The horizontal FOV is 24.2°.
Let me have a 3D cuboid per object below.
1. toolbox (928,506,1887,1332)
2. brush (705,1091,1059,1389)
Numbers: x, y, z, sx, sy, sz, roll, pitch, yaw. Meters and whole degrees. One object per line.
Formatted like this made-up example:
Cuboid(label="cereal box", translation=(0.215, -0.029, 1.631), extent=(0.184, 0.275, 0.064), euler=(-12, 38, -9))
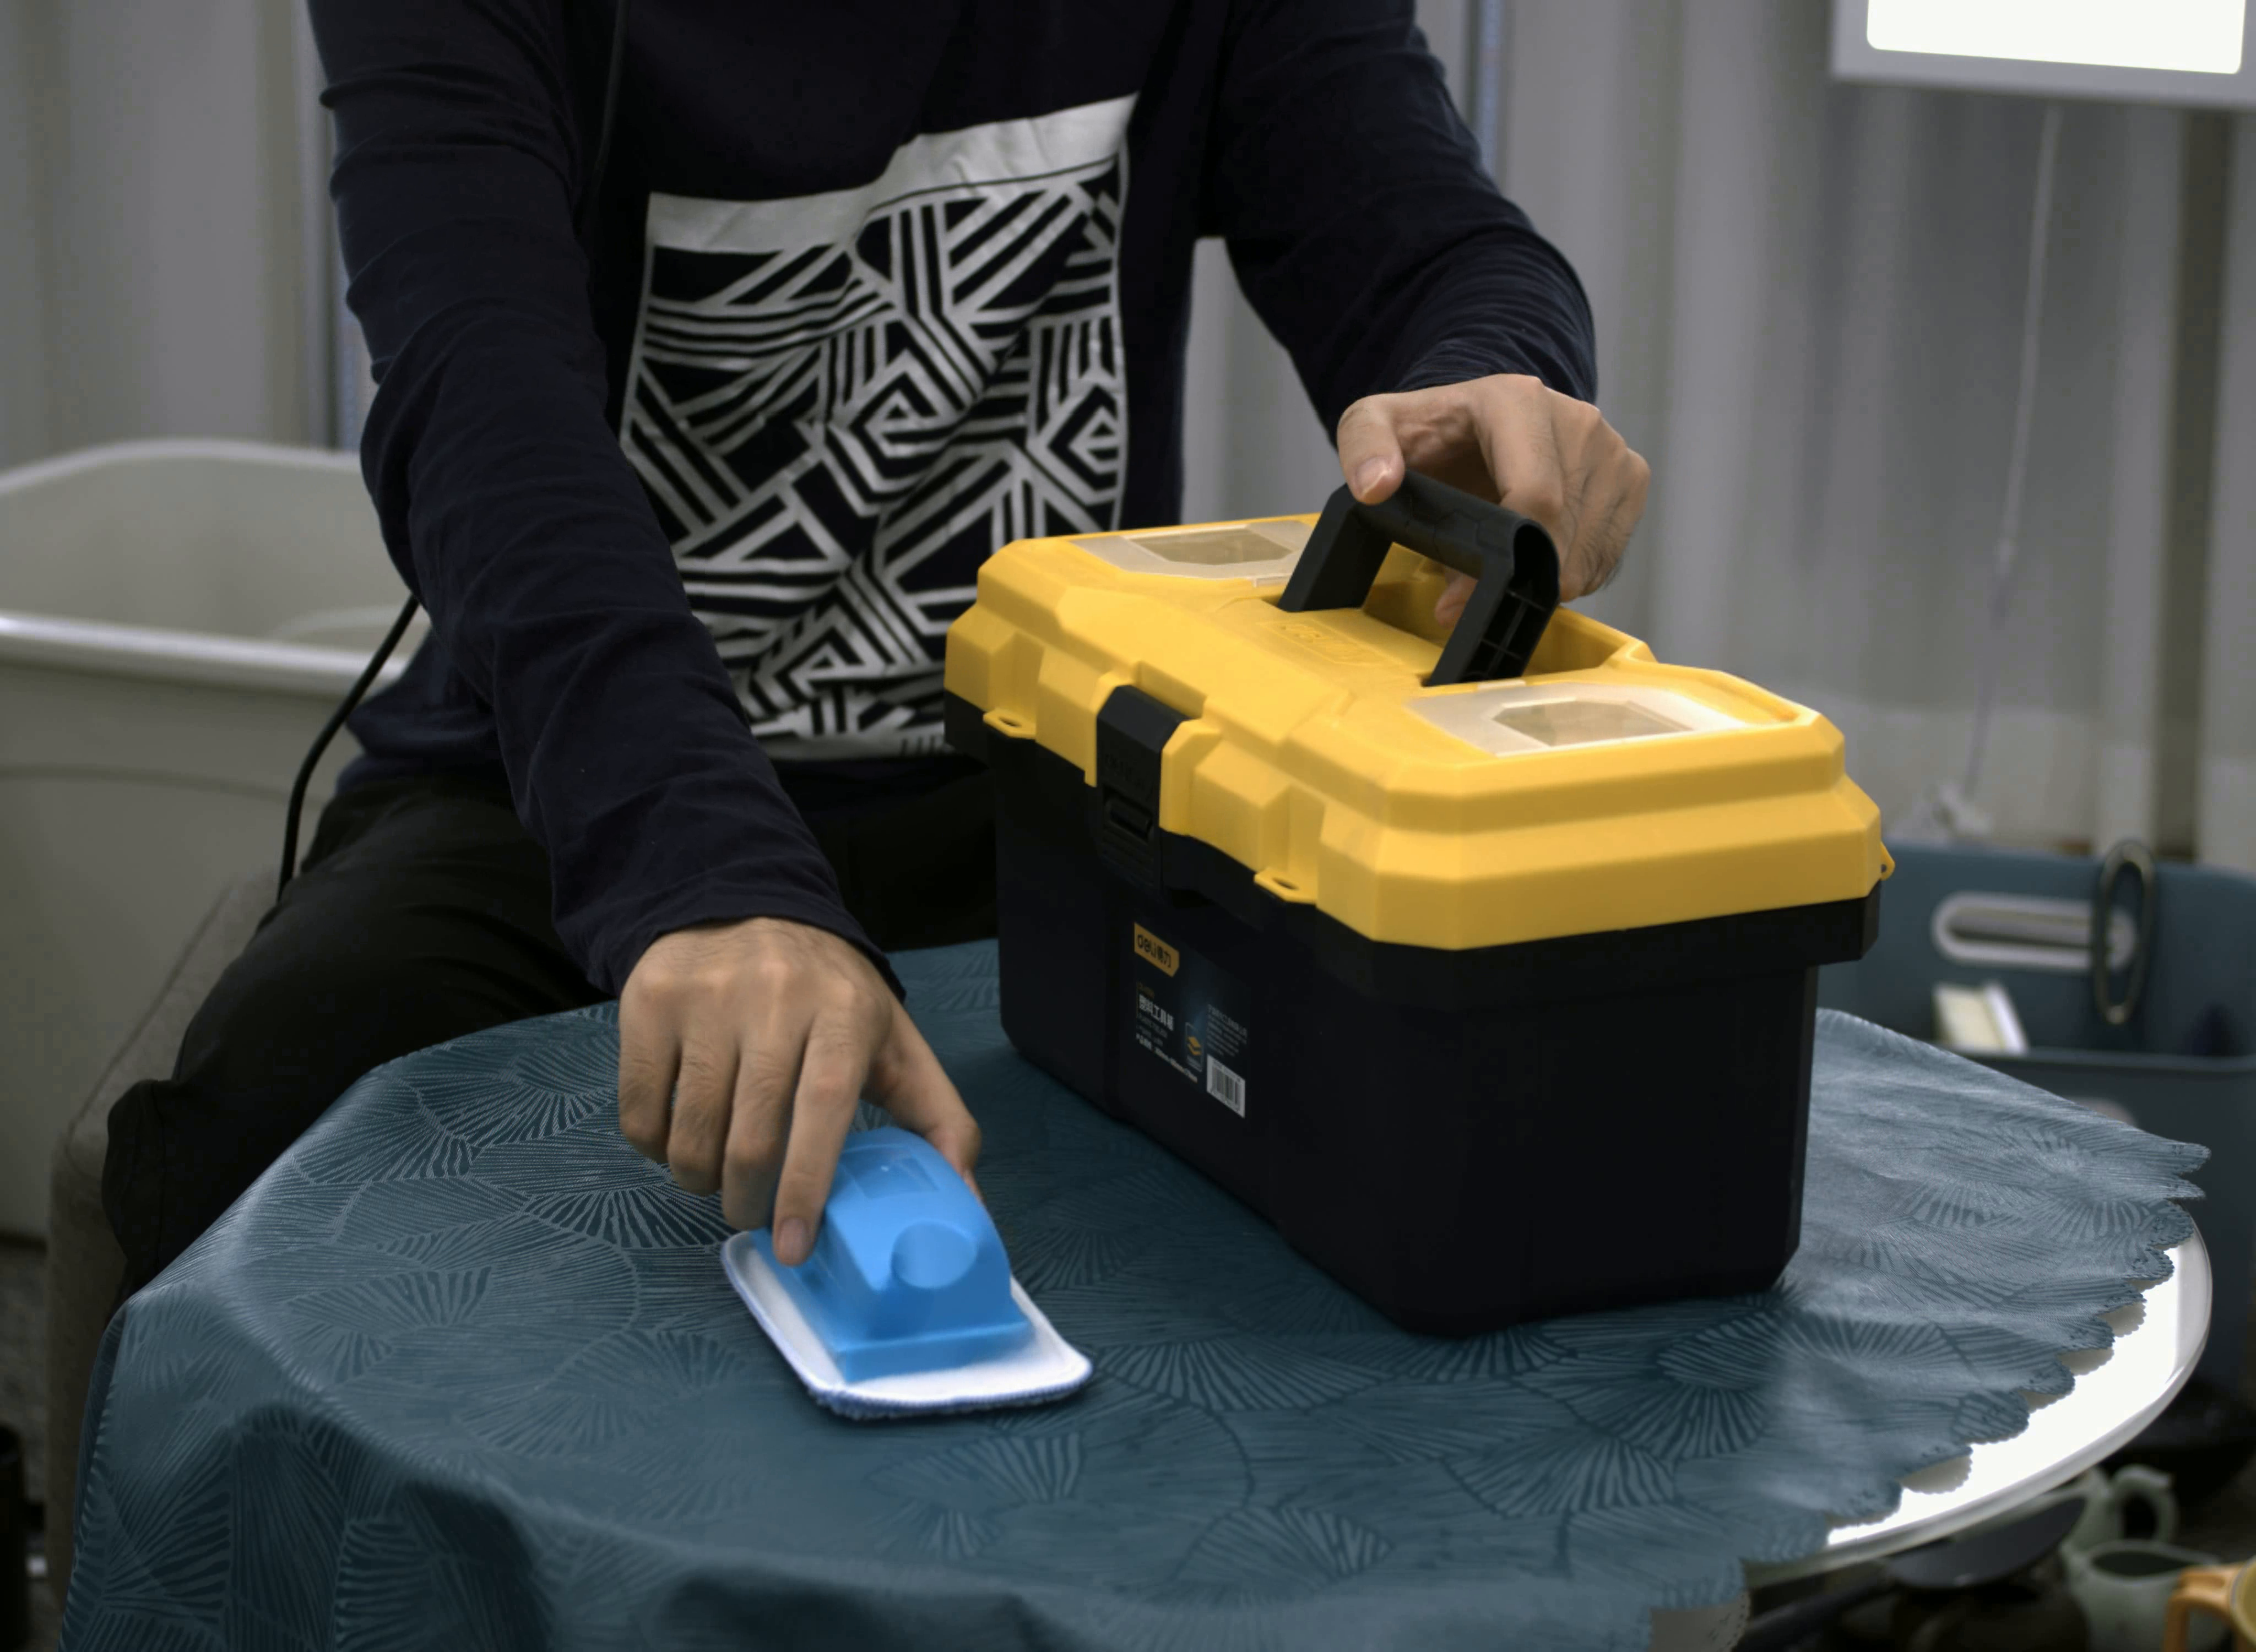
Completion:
Cuboid(label="toolbox", translation=(0.077, 0.020, 1.633), extent=(0.182, 0.174, 0.347), euler=(-7, 17, -24))
Cuboid(label="brush", translation=(-0.069, 0.115, 1.500), extent=(0.084, 0.056, 0.142), euler=(0, 17, -16))
